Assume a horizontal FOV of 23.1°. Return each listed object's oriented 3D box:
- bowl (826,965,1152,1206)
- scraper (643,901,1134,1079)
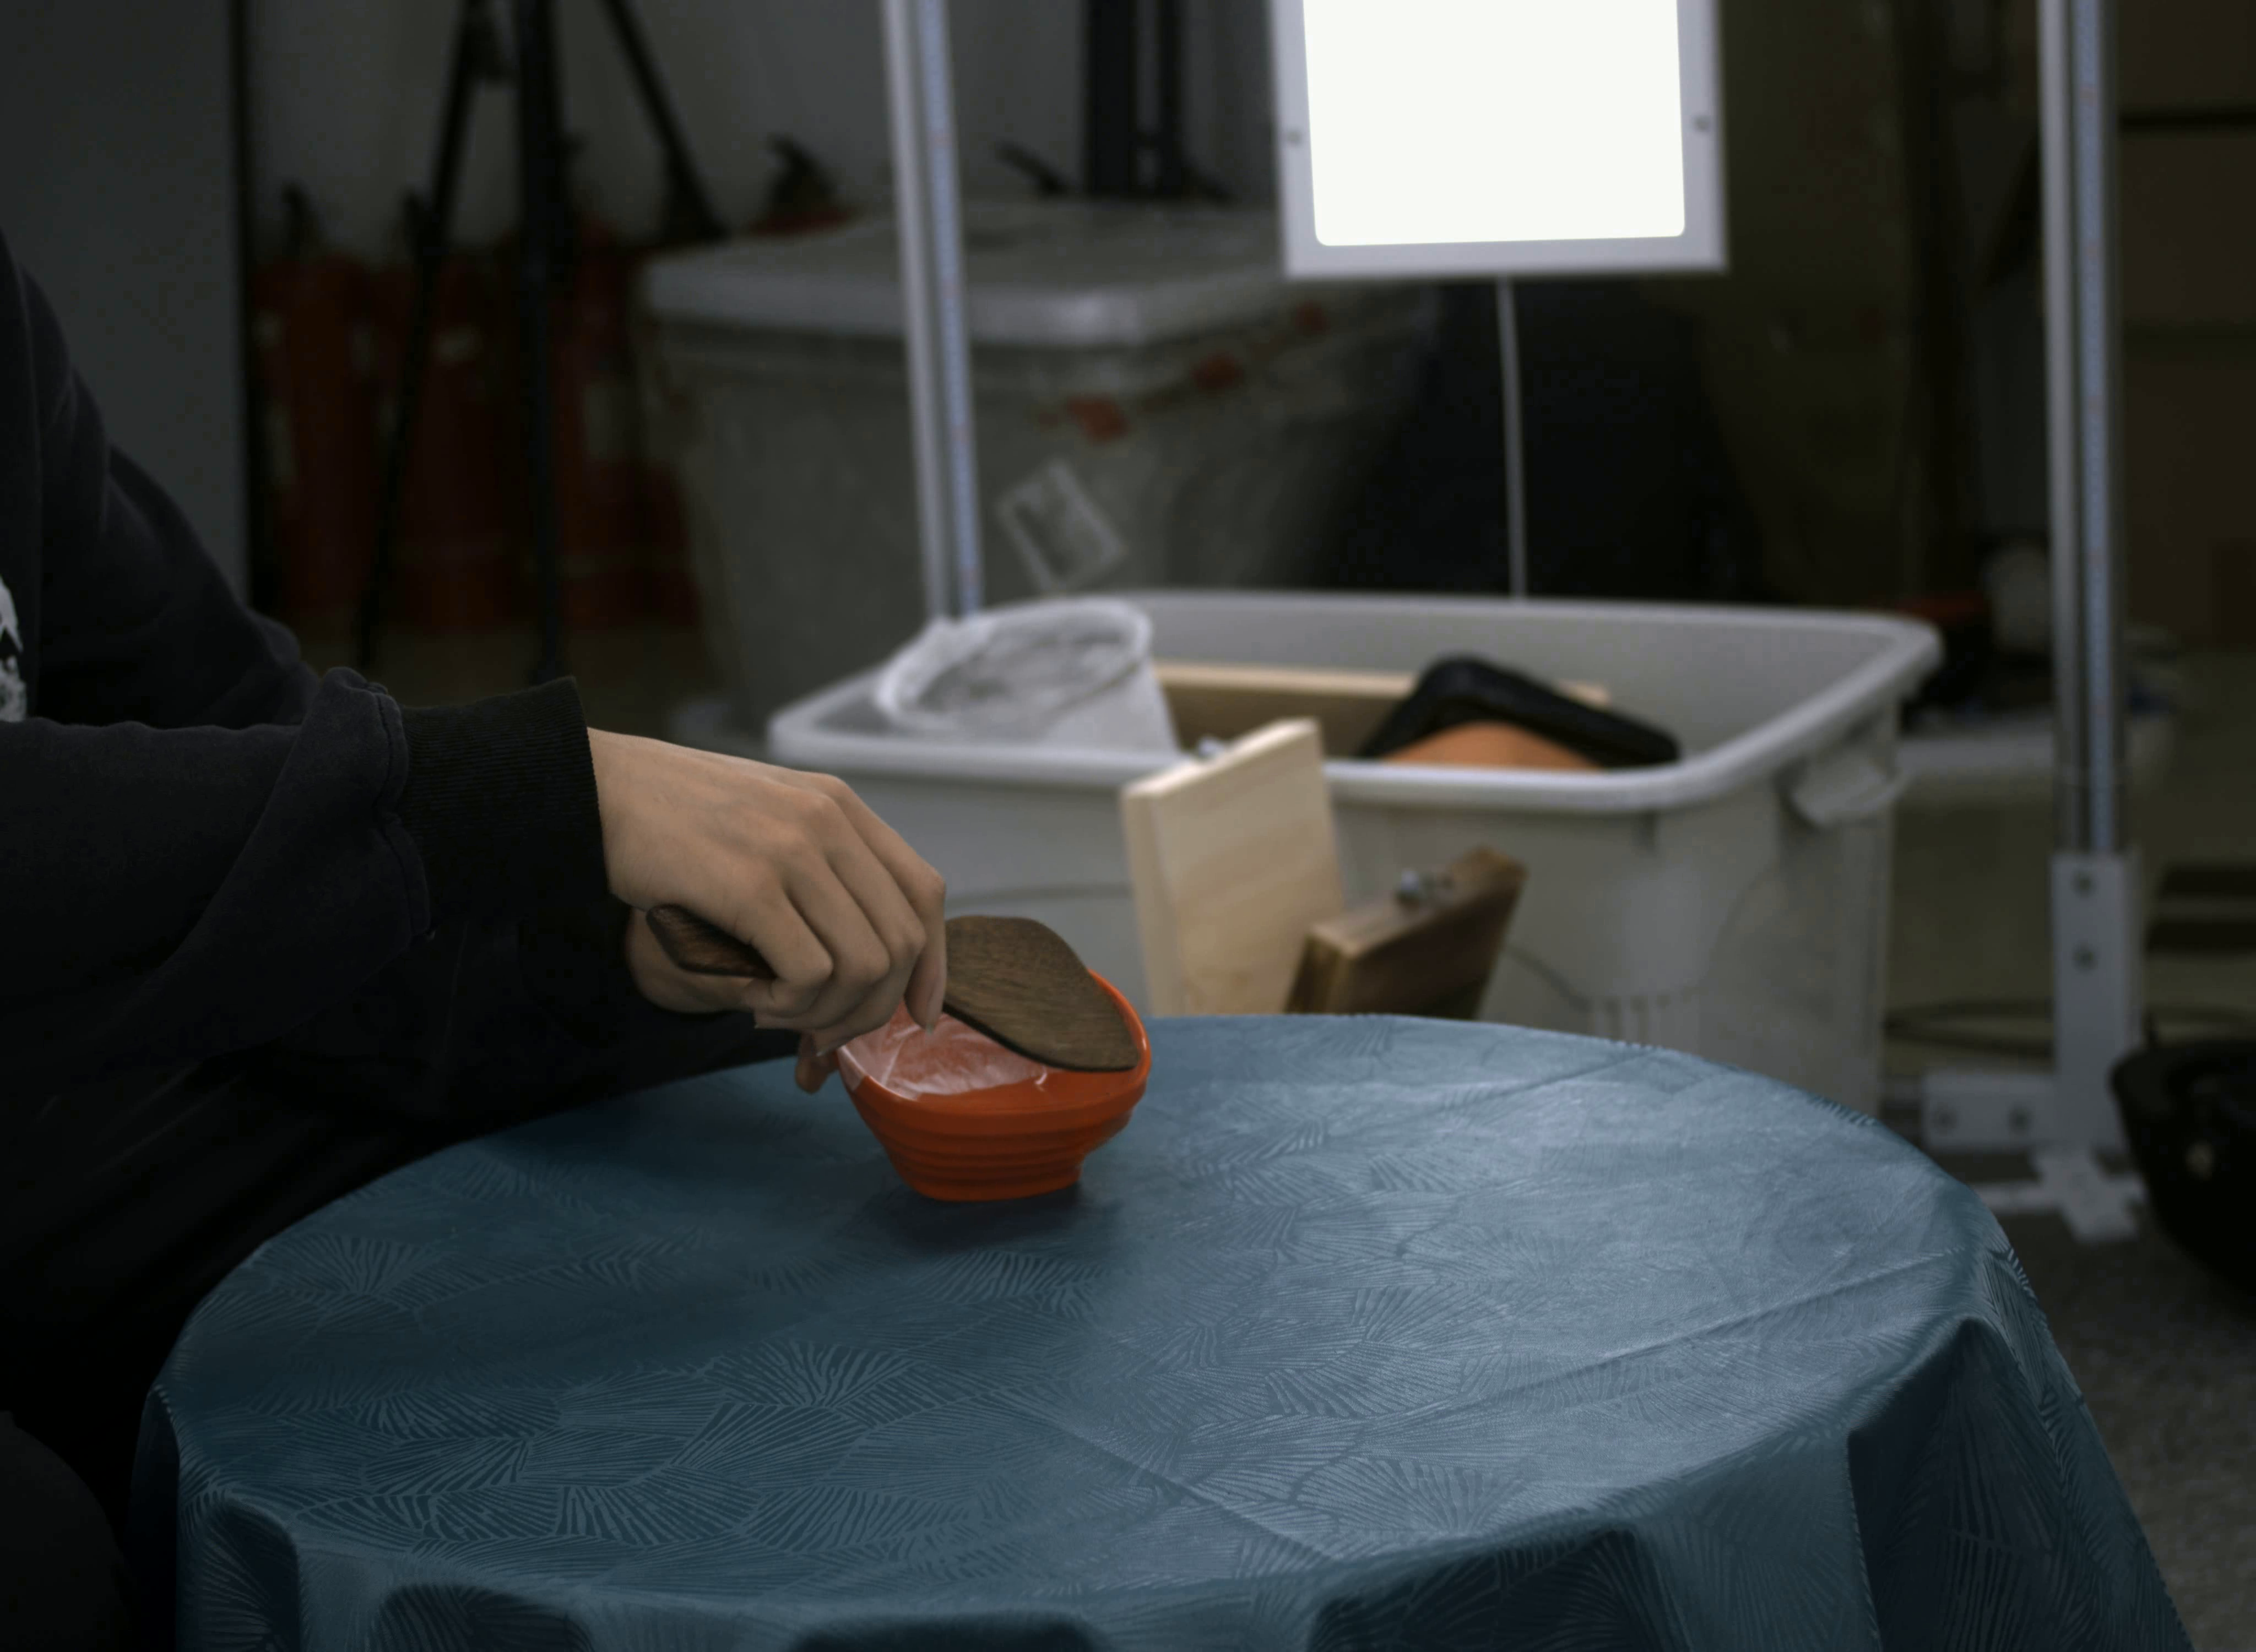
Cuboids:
[{"bbox_3d":[-0.050,0.092,1.917,0.118,0.052,0.118,3,29,-3],"label":"bowl"},{"bbox_3d":[-0.081,0.047,1.824,0.206,0.011,0.076,11,40,-47],"label":"scraper"}]
